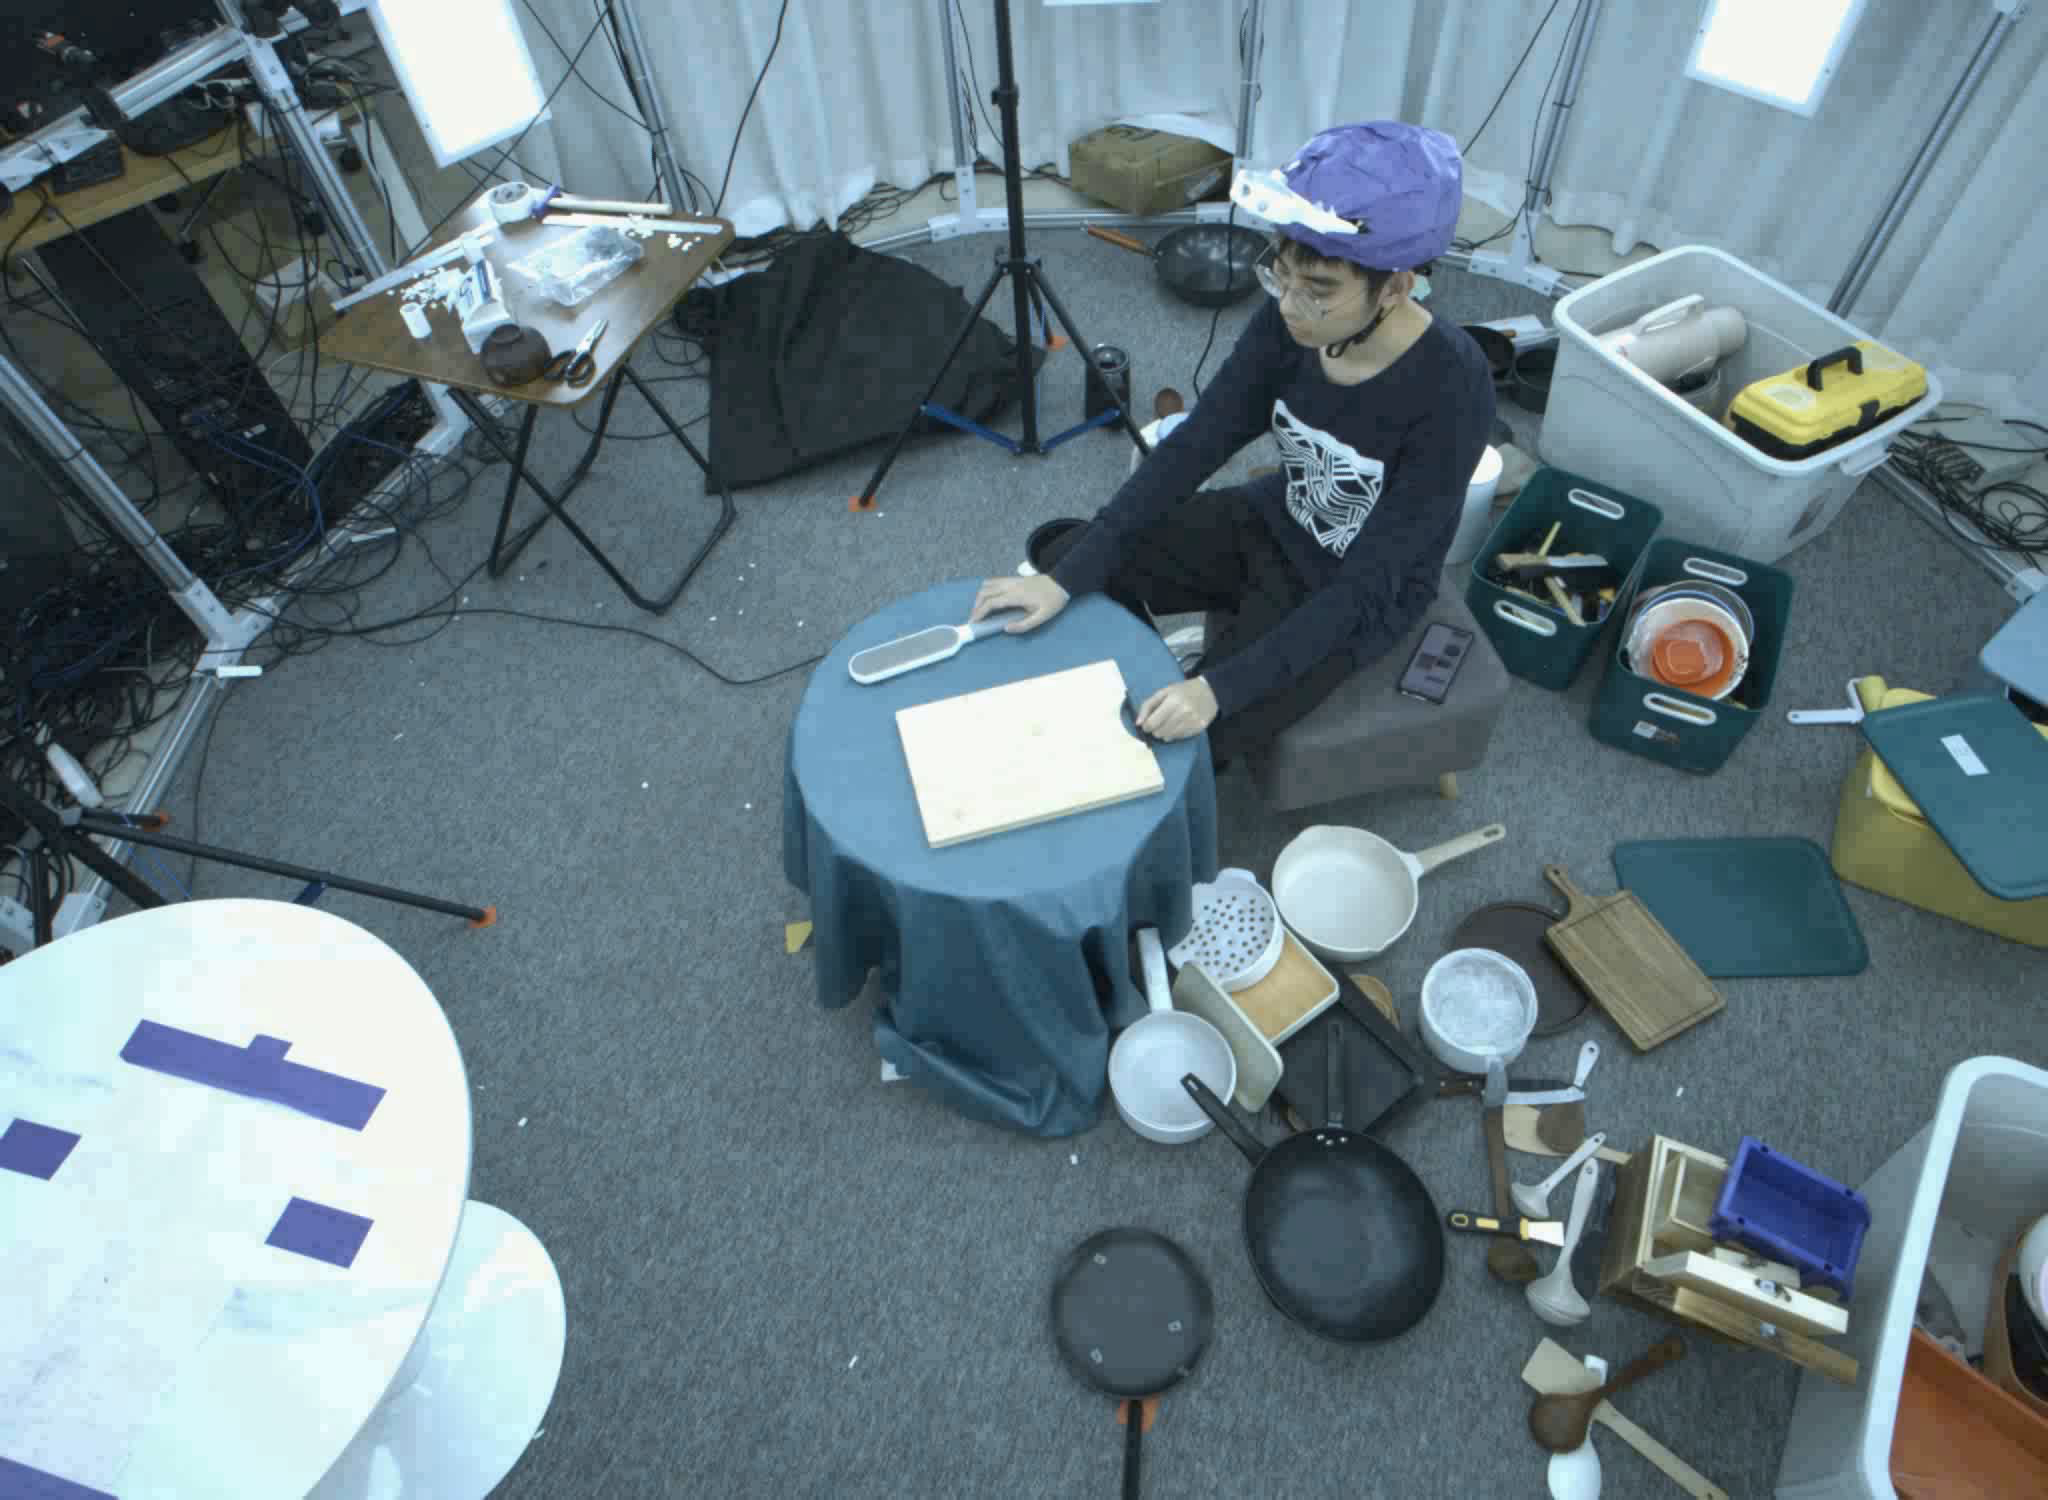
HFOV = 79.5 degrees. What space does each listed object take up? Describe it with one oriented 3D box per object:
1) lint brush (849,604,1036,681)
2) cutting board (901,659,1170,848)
[{"bbox_3d":[-0.125,-0.171,1.904,0.311,0.021,0.059,-20,51,-13],"label":"lint brush"},{"bbox_3d":[0.009,-0.001,1.786,0.351,0.024,0.246,-14,56,-9],"label":"cutting board"}]
